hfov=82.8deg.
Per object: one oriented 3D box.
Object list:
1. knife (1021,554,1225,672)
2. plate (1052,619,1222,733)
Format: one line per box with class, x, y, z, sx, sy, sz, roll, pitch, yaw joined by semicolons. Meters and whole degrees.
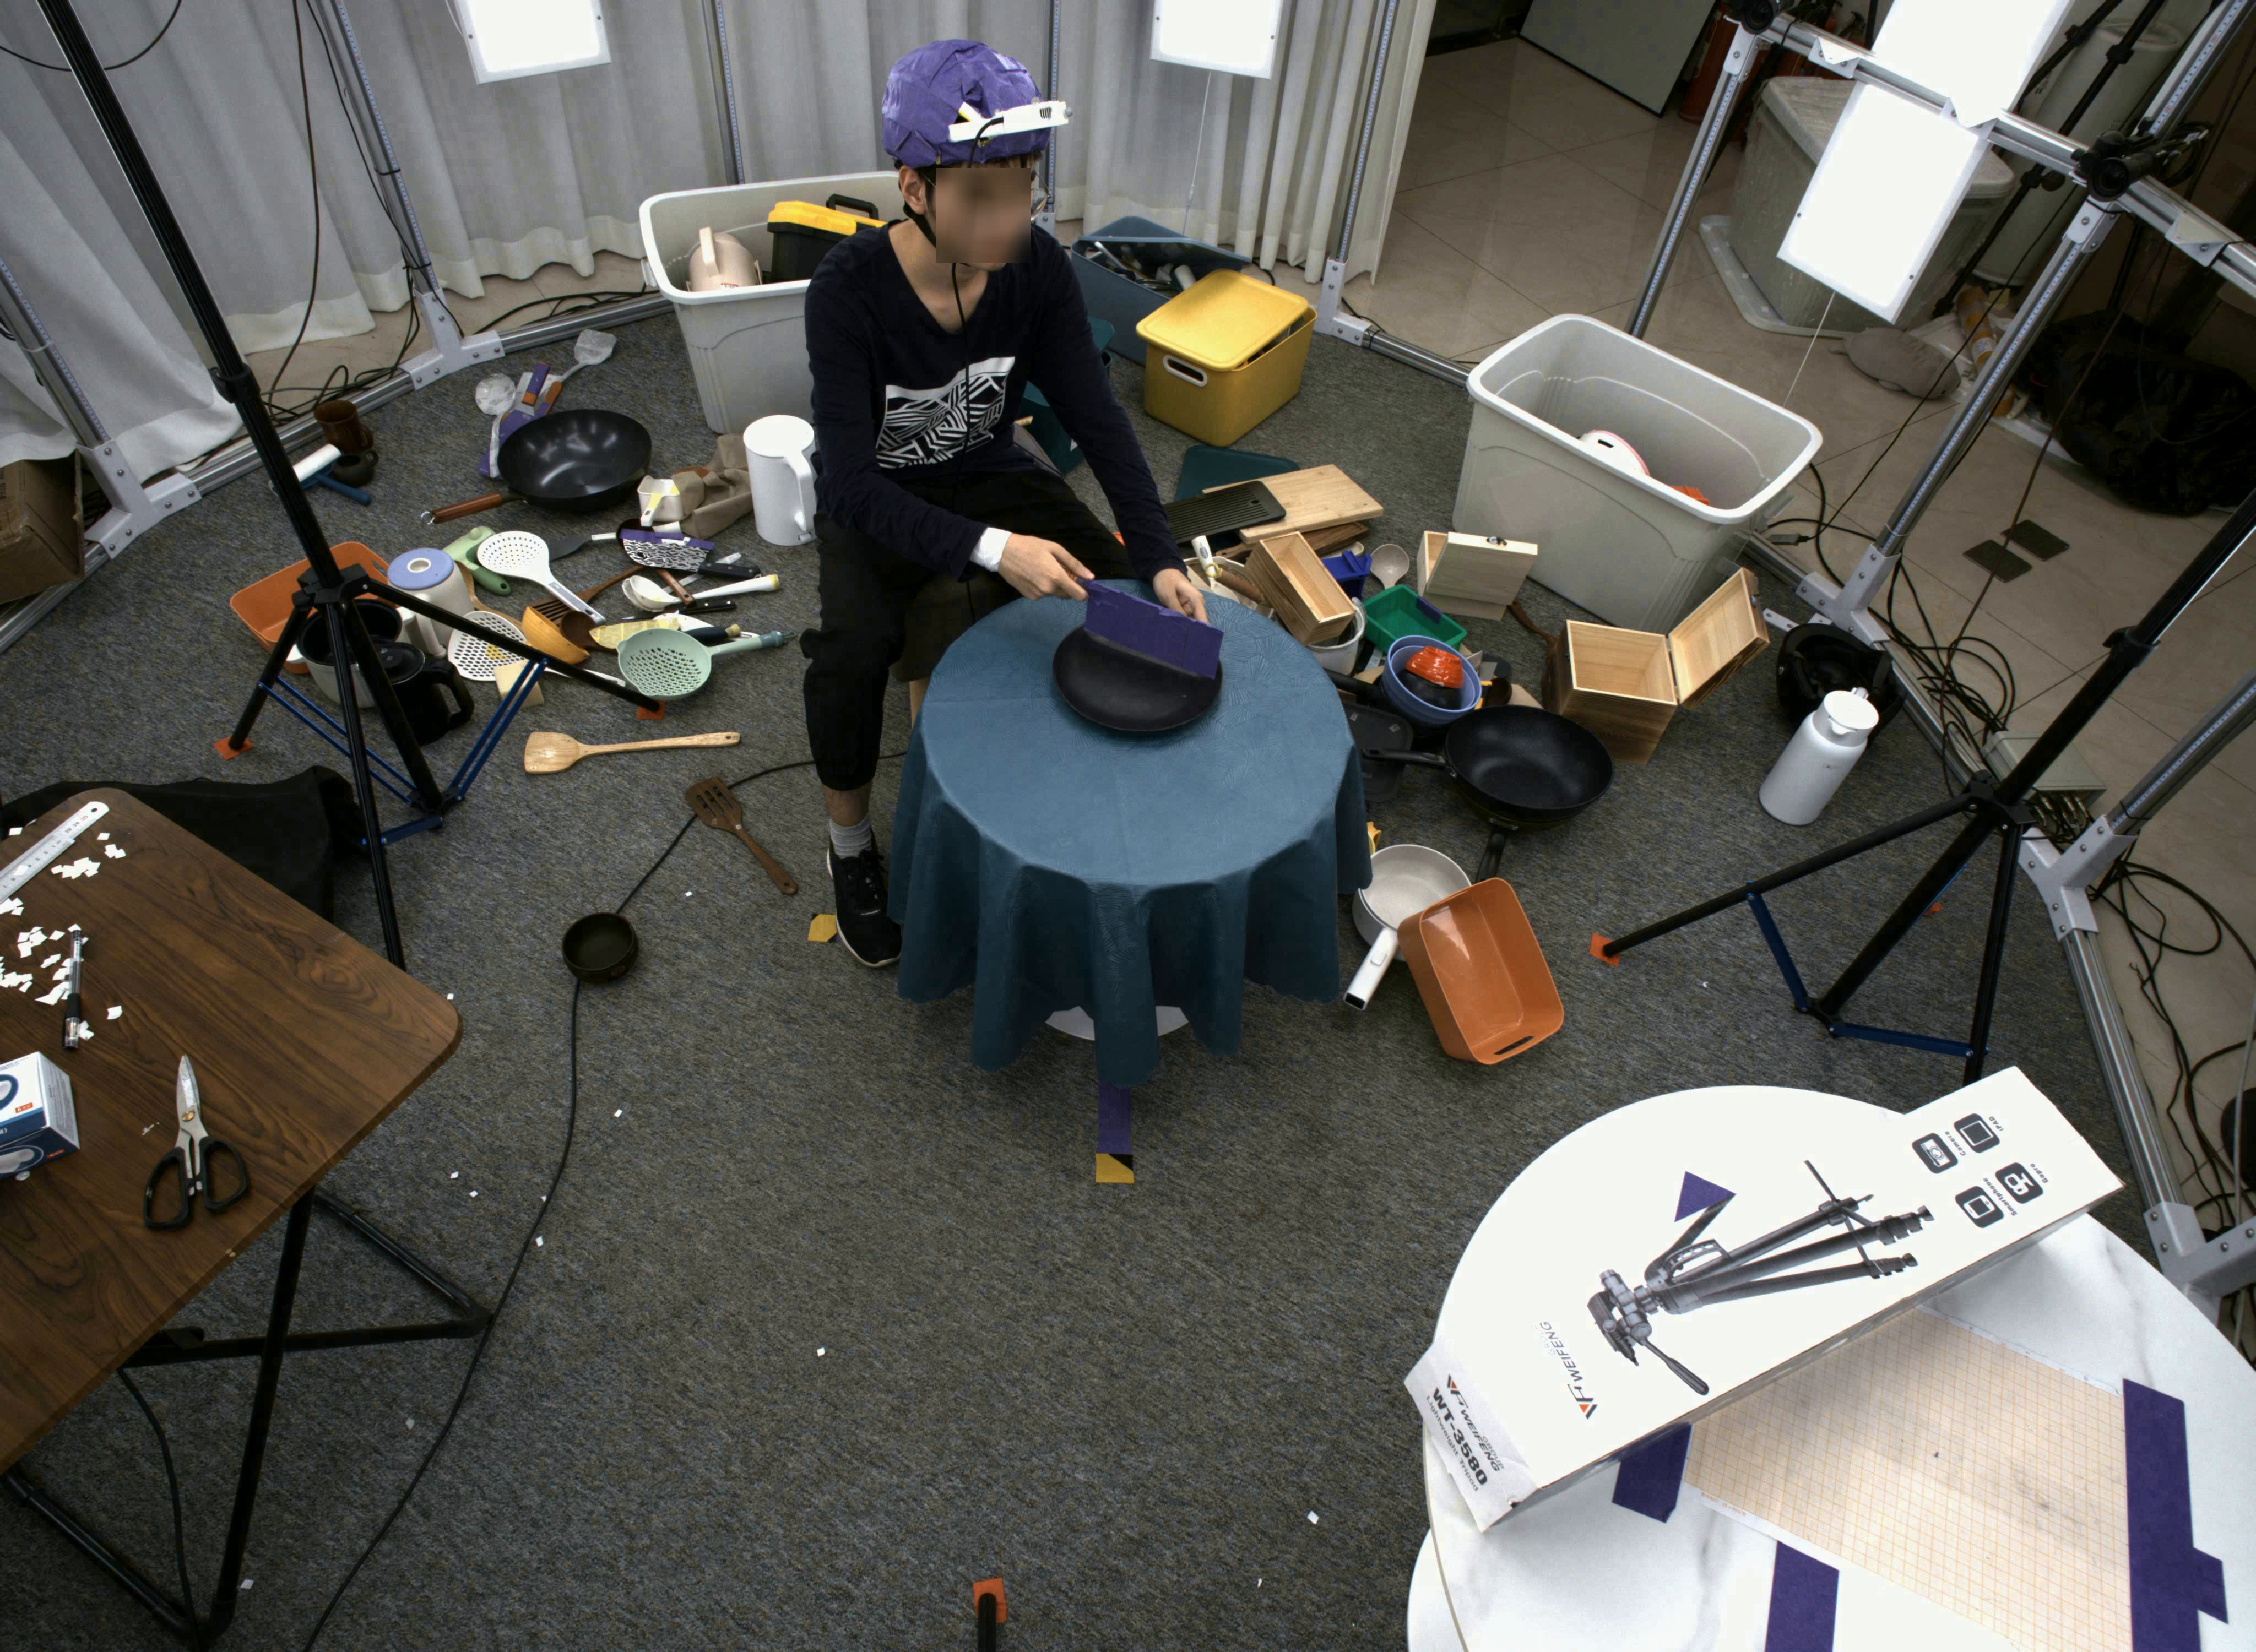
knife;-0.011;-0.299;1.837;0.317;0.101;0.033;24;47;15
plate;0.013;-0.219;1.841;0.244;0.023;0.250;1;50;-2
